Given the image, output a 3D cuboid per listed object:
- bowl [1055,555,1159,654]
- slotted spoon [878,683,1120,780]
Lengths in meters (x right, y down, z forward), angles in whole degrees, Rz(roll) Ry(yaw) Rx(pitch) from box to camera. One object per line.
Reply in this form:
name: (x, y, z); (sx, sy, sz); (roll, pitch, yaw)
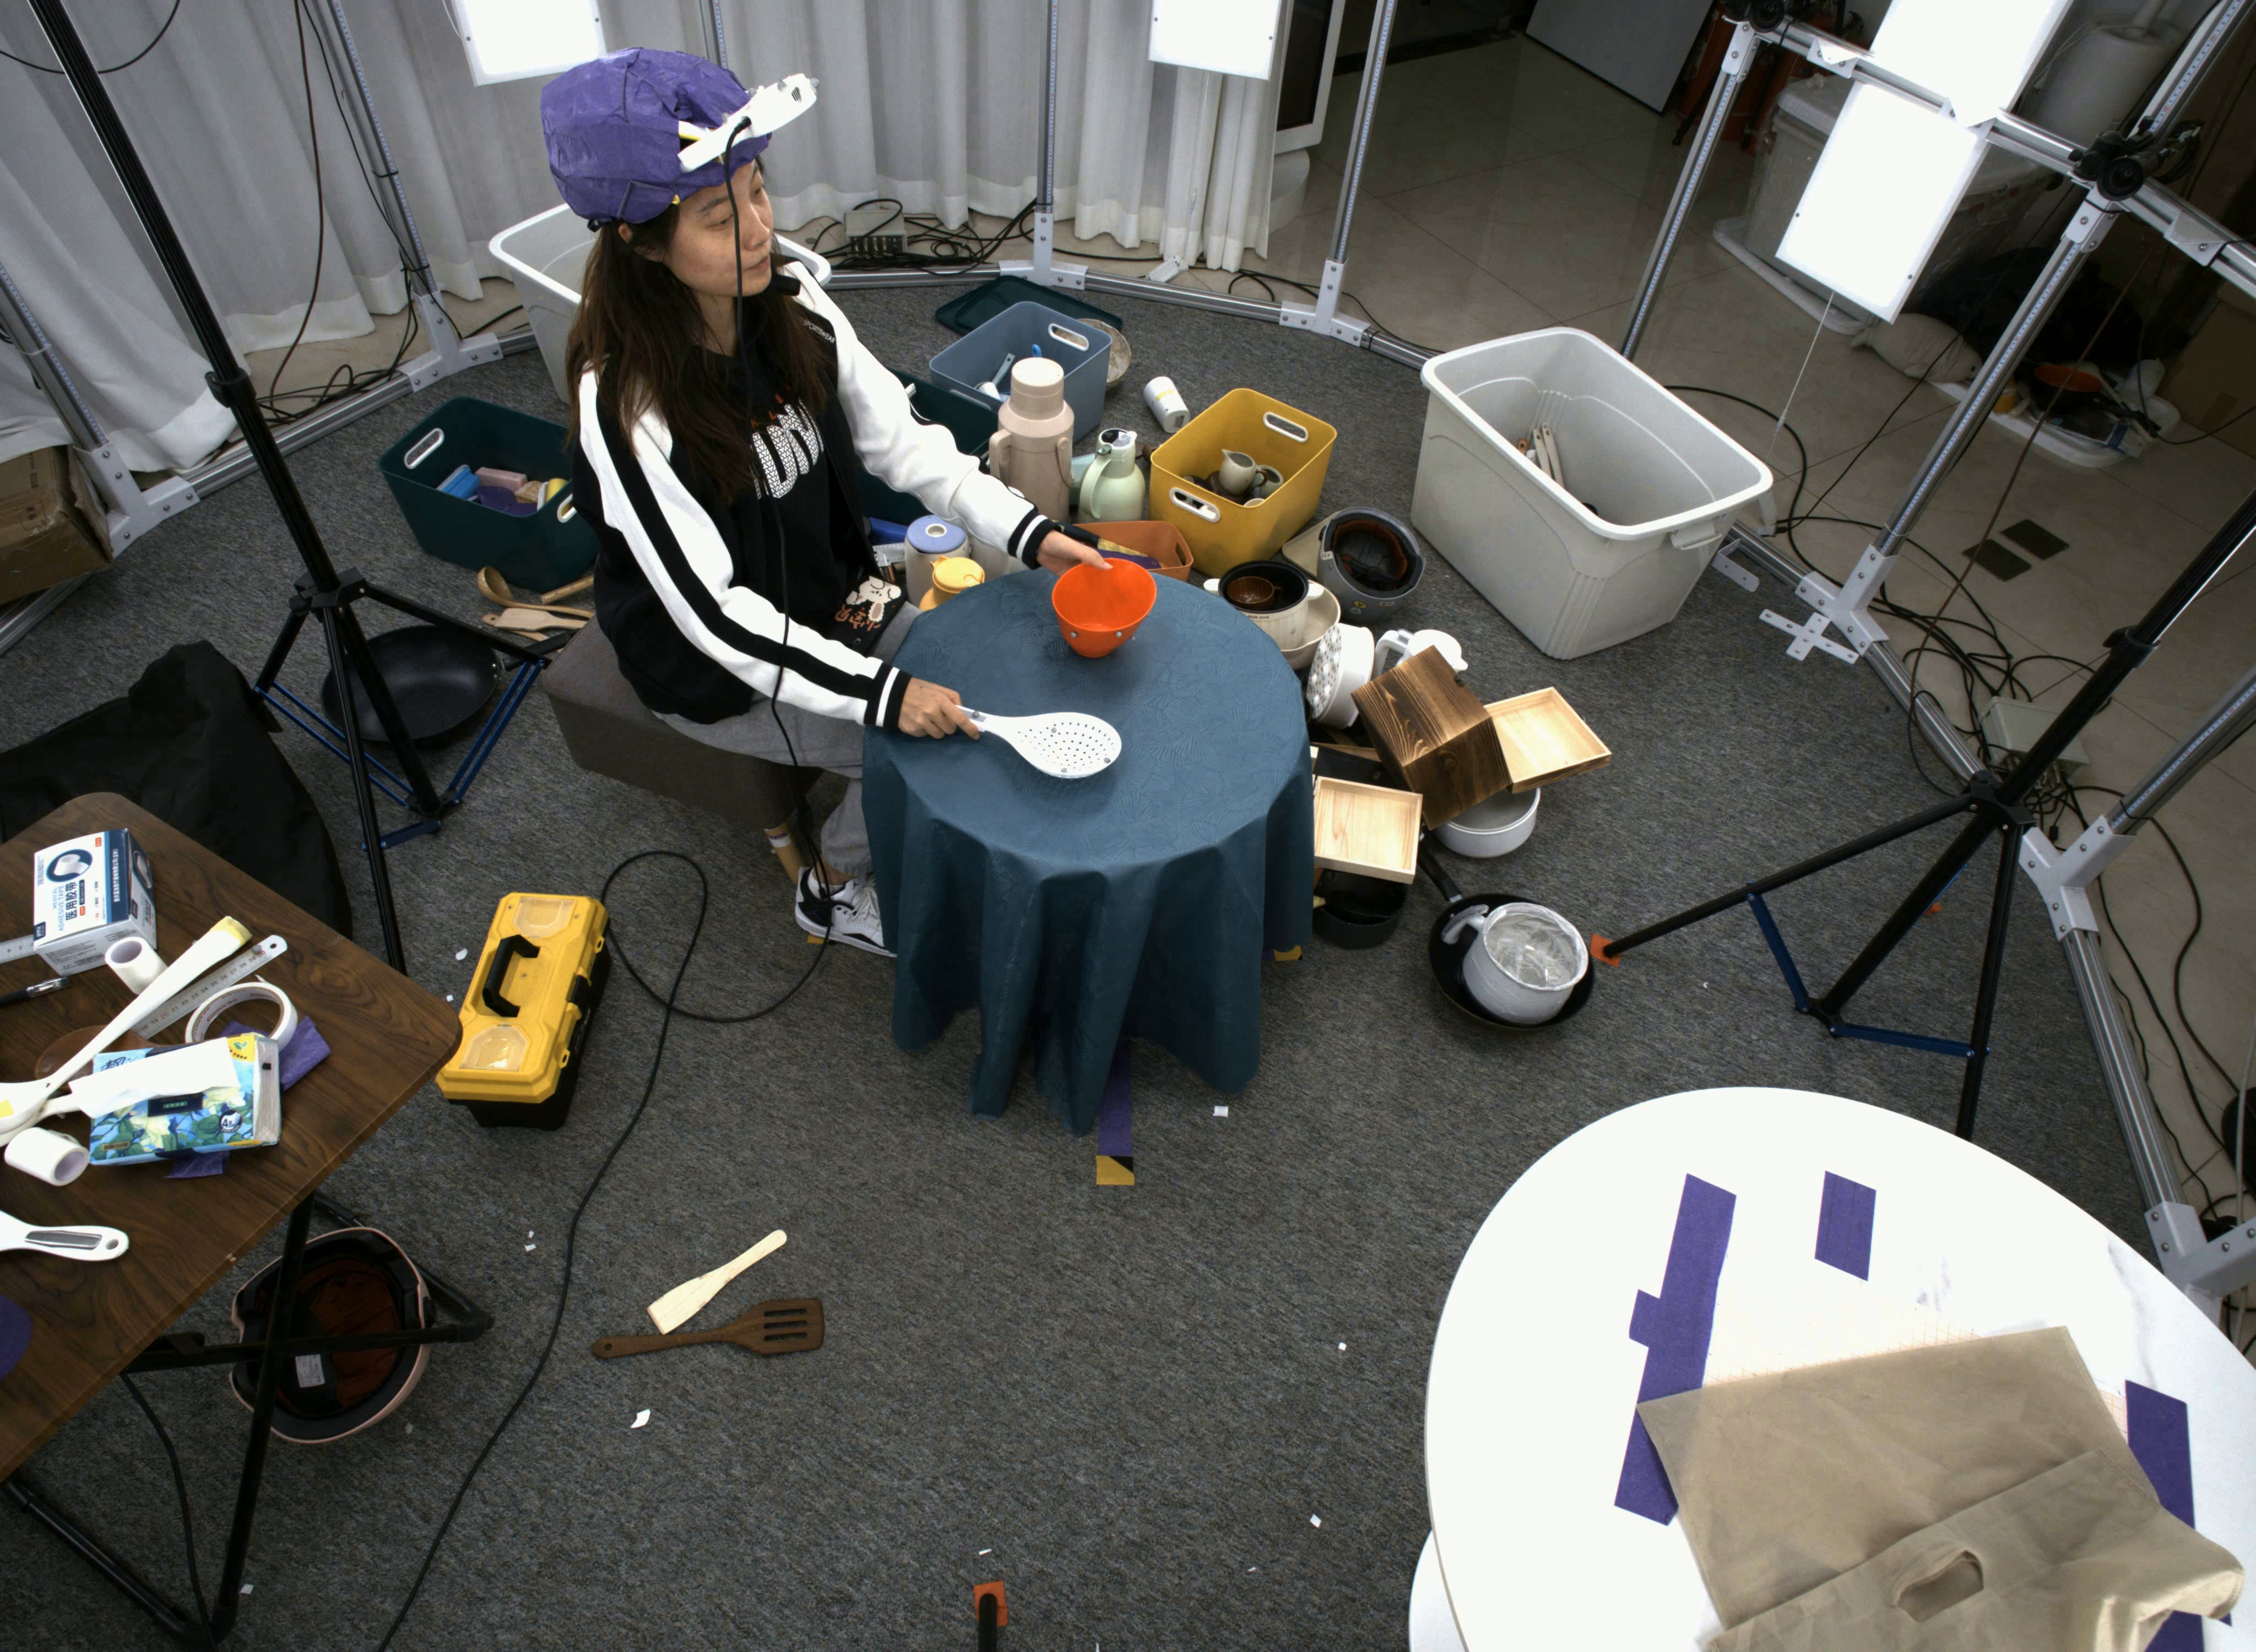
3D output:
bowl: (-0.033, -0.309, 1.862); (0.148, 0.102, 0.151); (2, 56, -4)
slotted spoon: (-0.179, -0.136, 1.740); (0.351, 0.044, 0.138); (21, 42, 12)
